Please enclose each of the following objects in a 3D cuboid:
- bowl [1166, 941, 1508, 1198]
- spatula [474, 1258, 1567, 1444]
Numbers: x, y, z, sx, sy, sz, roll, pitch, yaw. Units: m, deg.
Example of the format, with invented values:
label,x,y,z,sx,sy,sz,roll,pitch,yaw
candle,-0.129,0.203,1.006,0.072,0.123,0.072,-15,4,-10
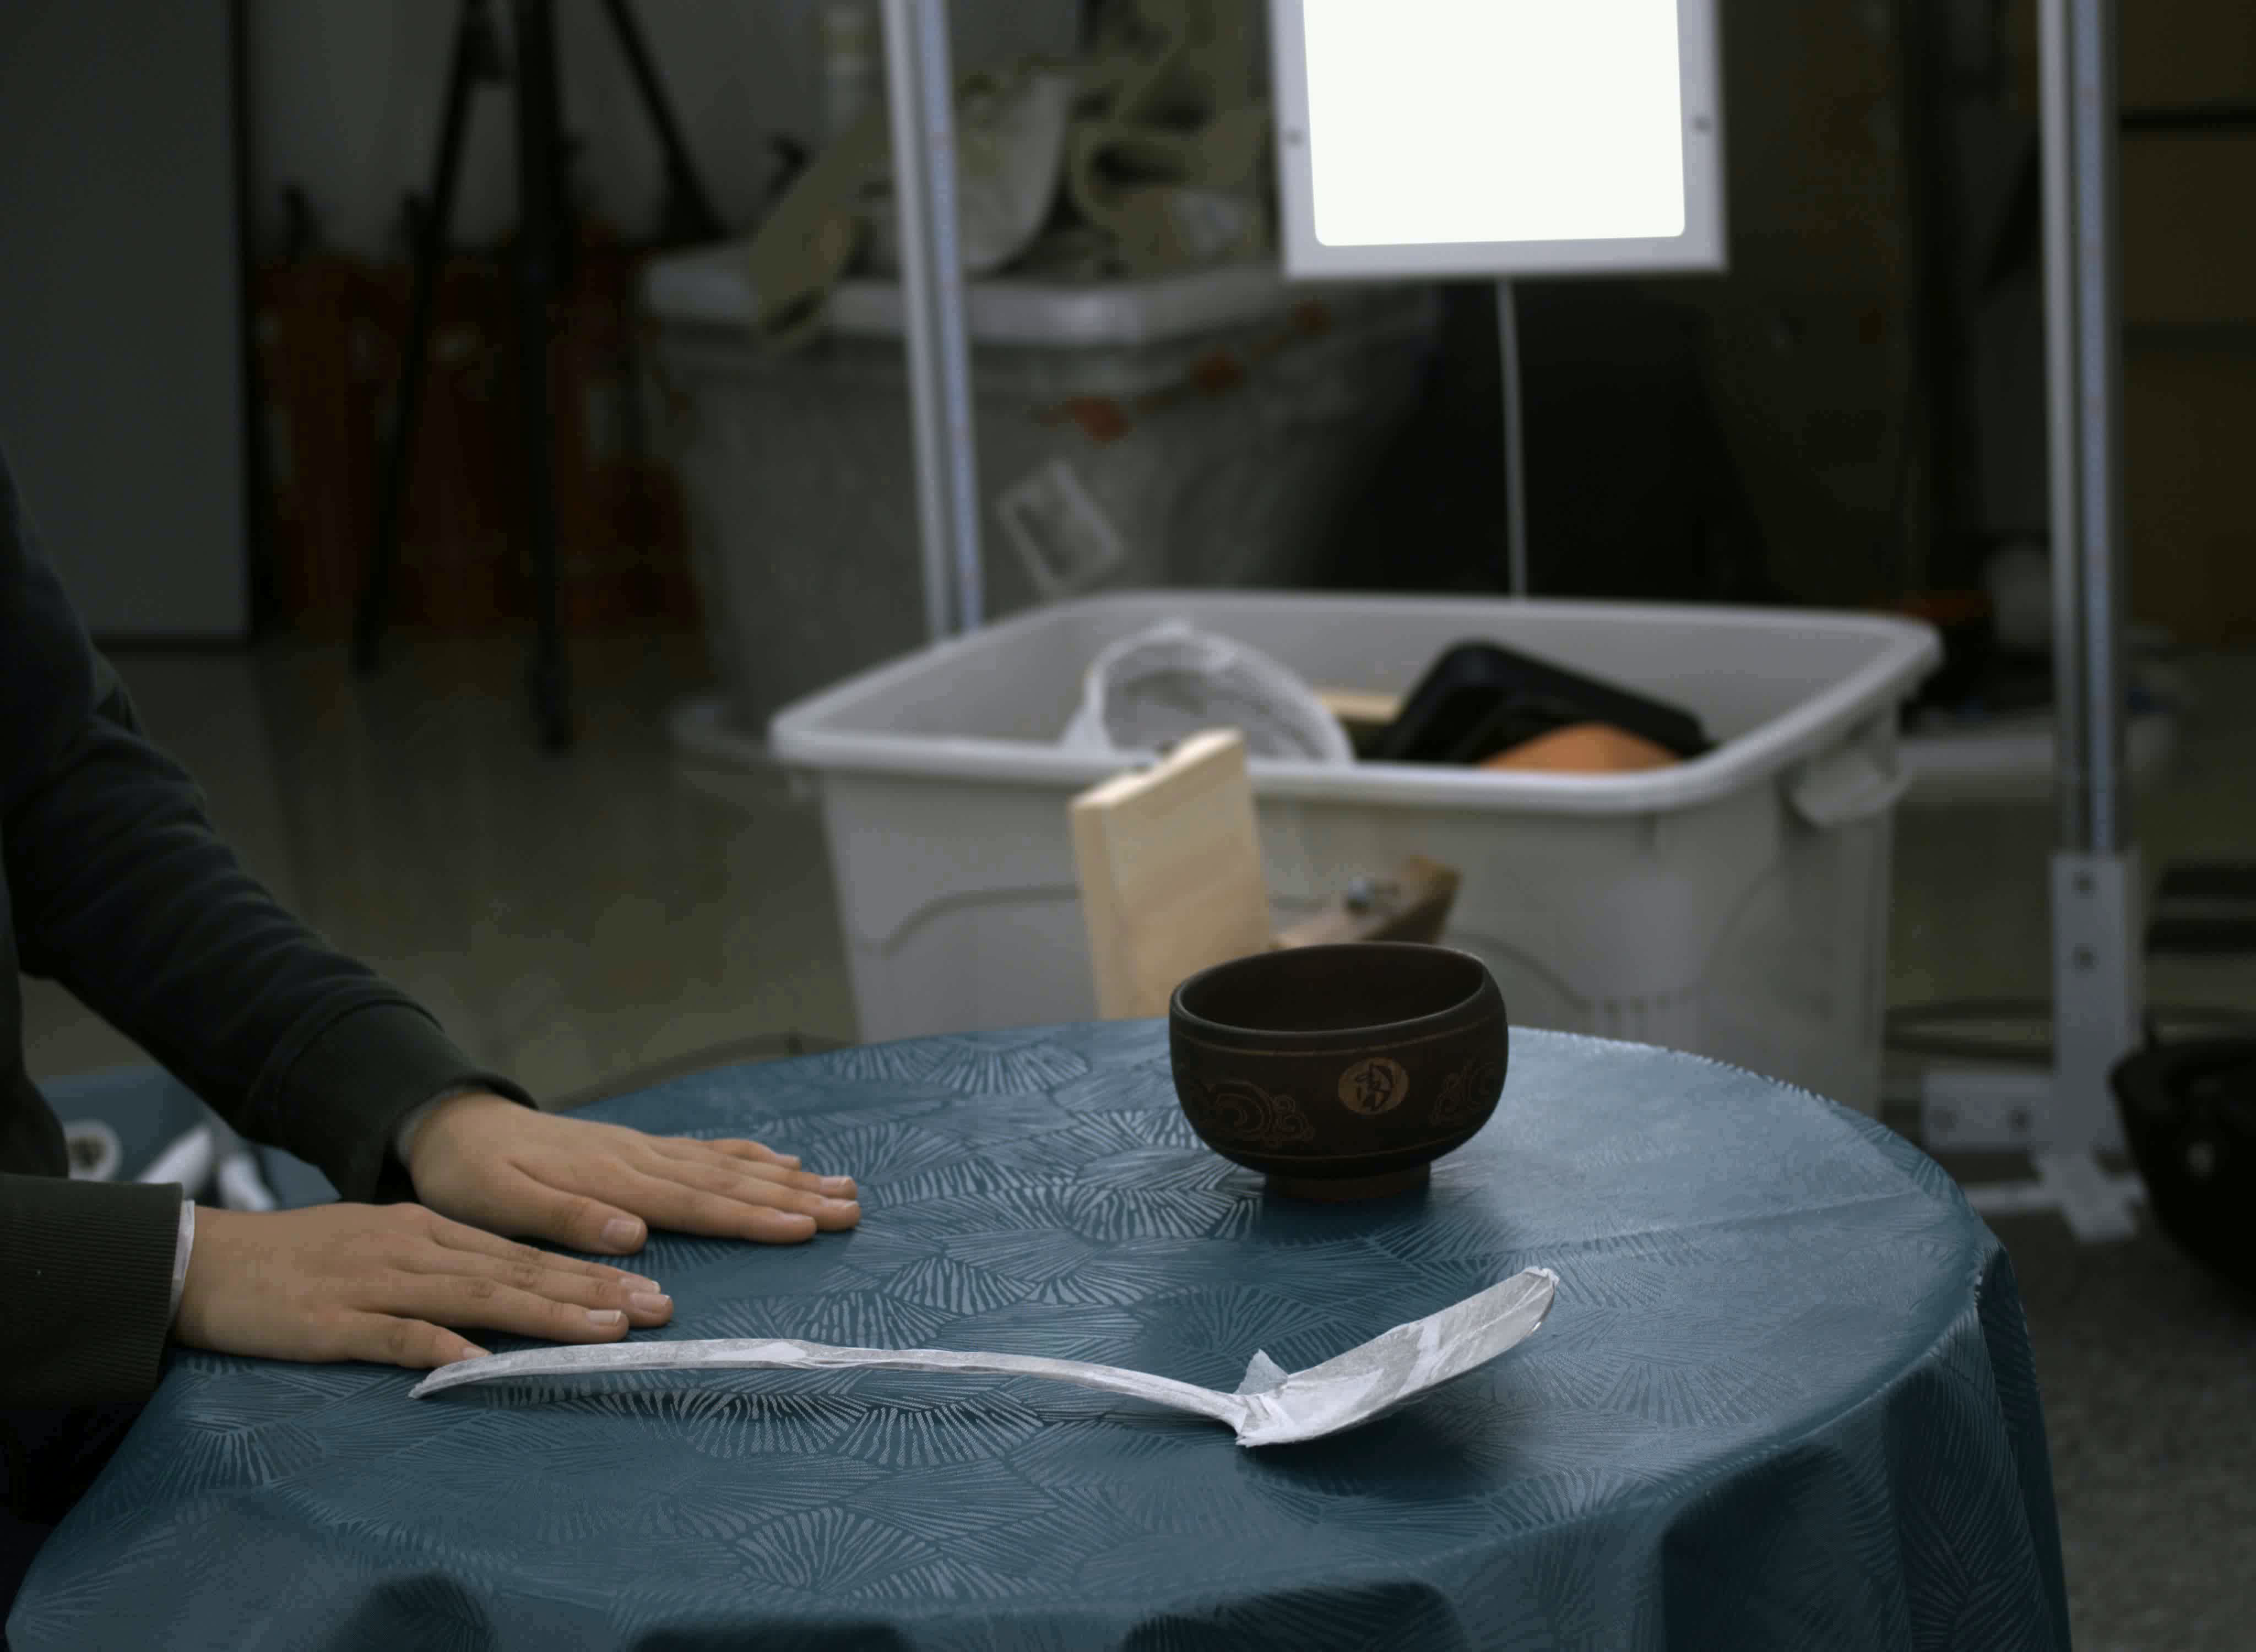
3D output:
label,x,y,z,sx,sy,sz,roll,pitch,yaw
bowl,0.073,0.086,1.884,0.118,0.070,0.118,-5,12,0
spatula,-0.044,0.160,1.694,0.370,0.045,0.097,1,17,21
